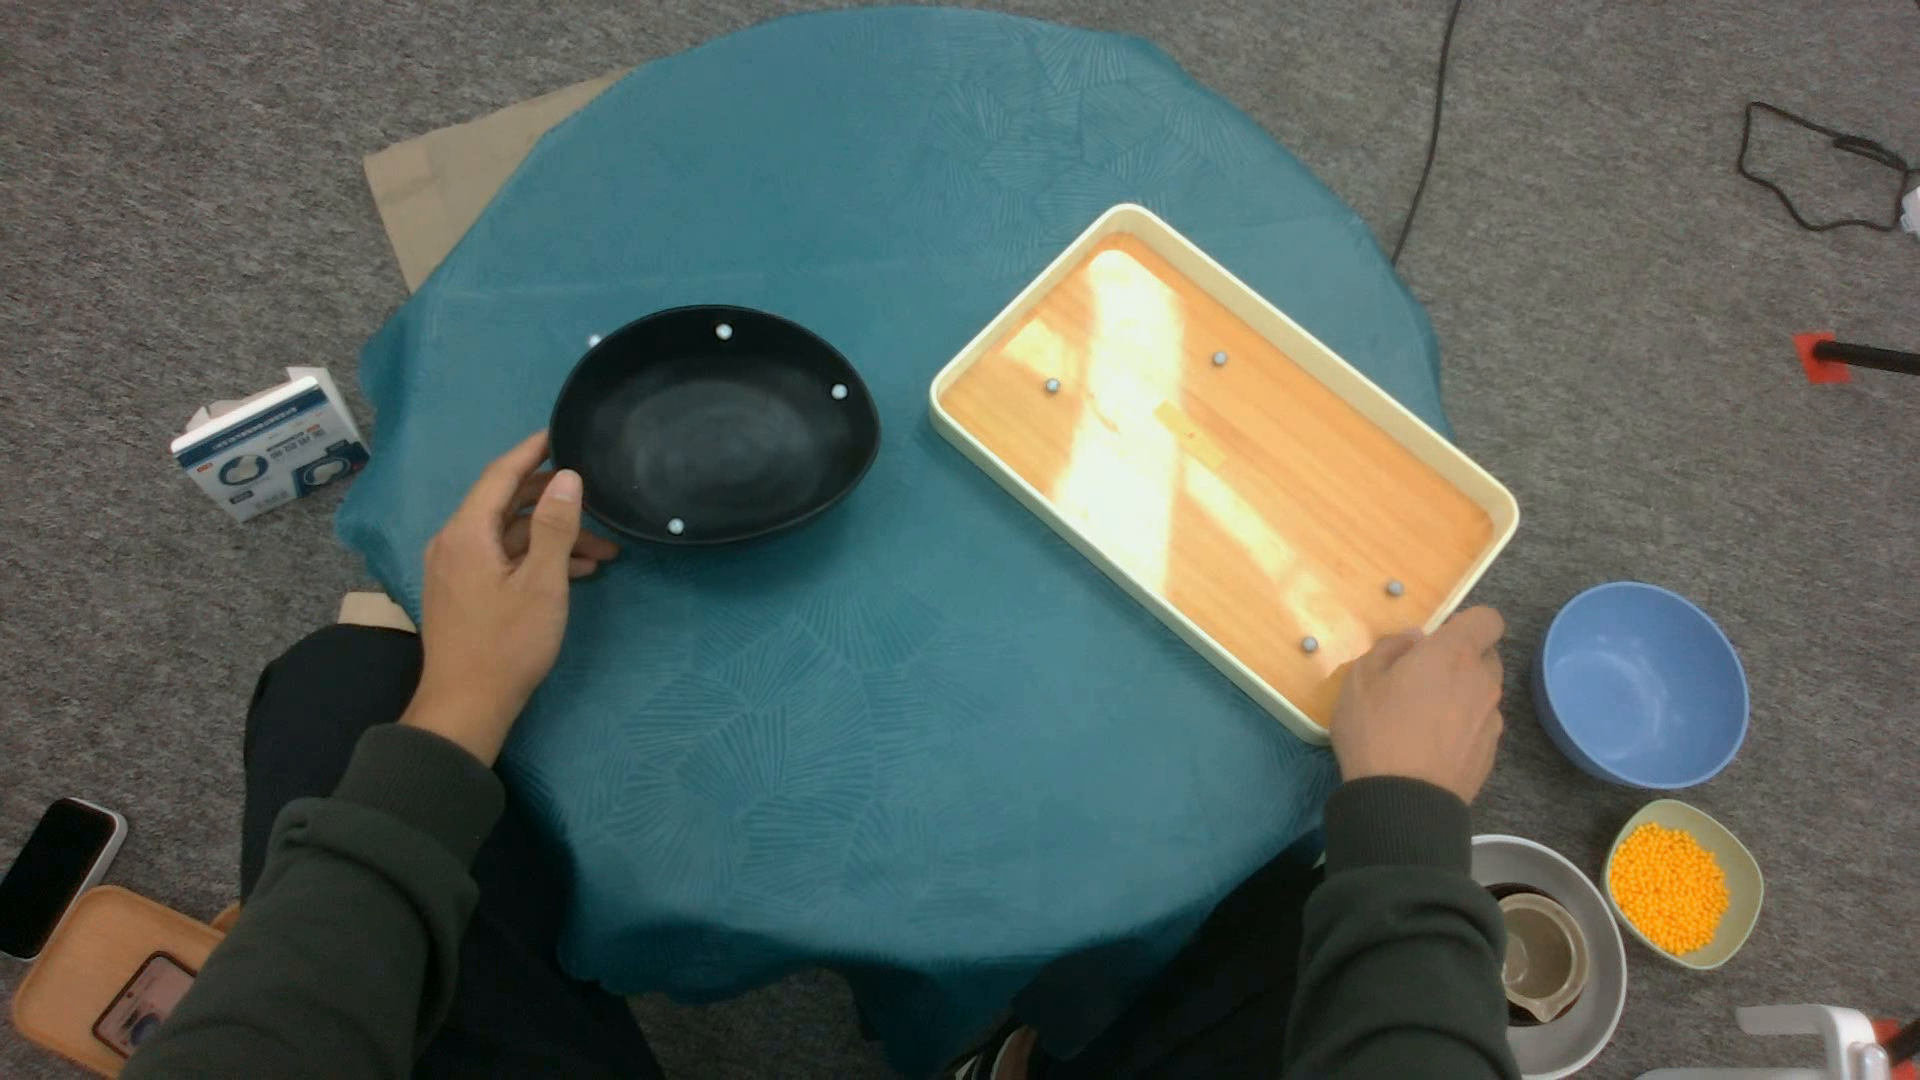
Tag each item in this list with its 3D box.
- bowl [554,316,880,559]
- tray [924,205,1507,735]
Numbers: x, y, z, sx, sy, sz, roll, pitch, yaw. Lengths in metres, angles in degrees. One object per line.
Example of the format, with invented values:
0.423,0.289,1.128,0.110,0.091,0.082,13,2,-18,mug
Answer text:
-0.130,-0.049,0.751,0.170,0.066,0.137,-7,71,-10,bowl
0.146,-0.048,0.795,0.300,0.027,0.192,39,70,10,tray
